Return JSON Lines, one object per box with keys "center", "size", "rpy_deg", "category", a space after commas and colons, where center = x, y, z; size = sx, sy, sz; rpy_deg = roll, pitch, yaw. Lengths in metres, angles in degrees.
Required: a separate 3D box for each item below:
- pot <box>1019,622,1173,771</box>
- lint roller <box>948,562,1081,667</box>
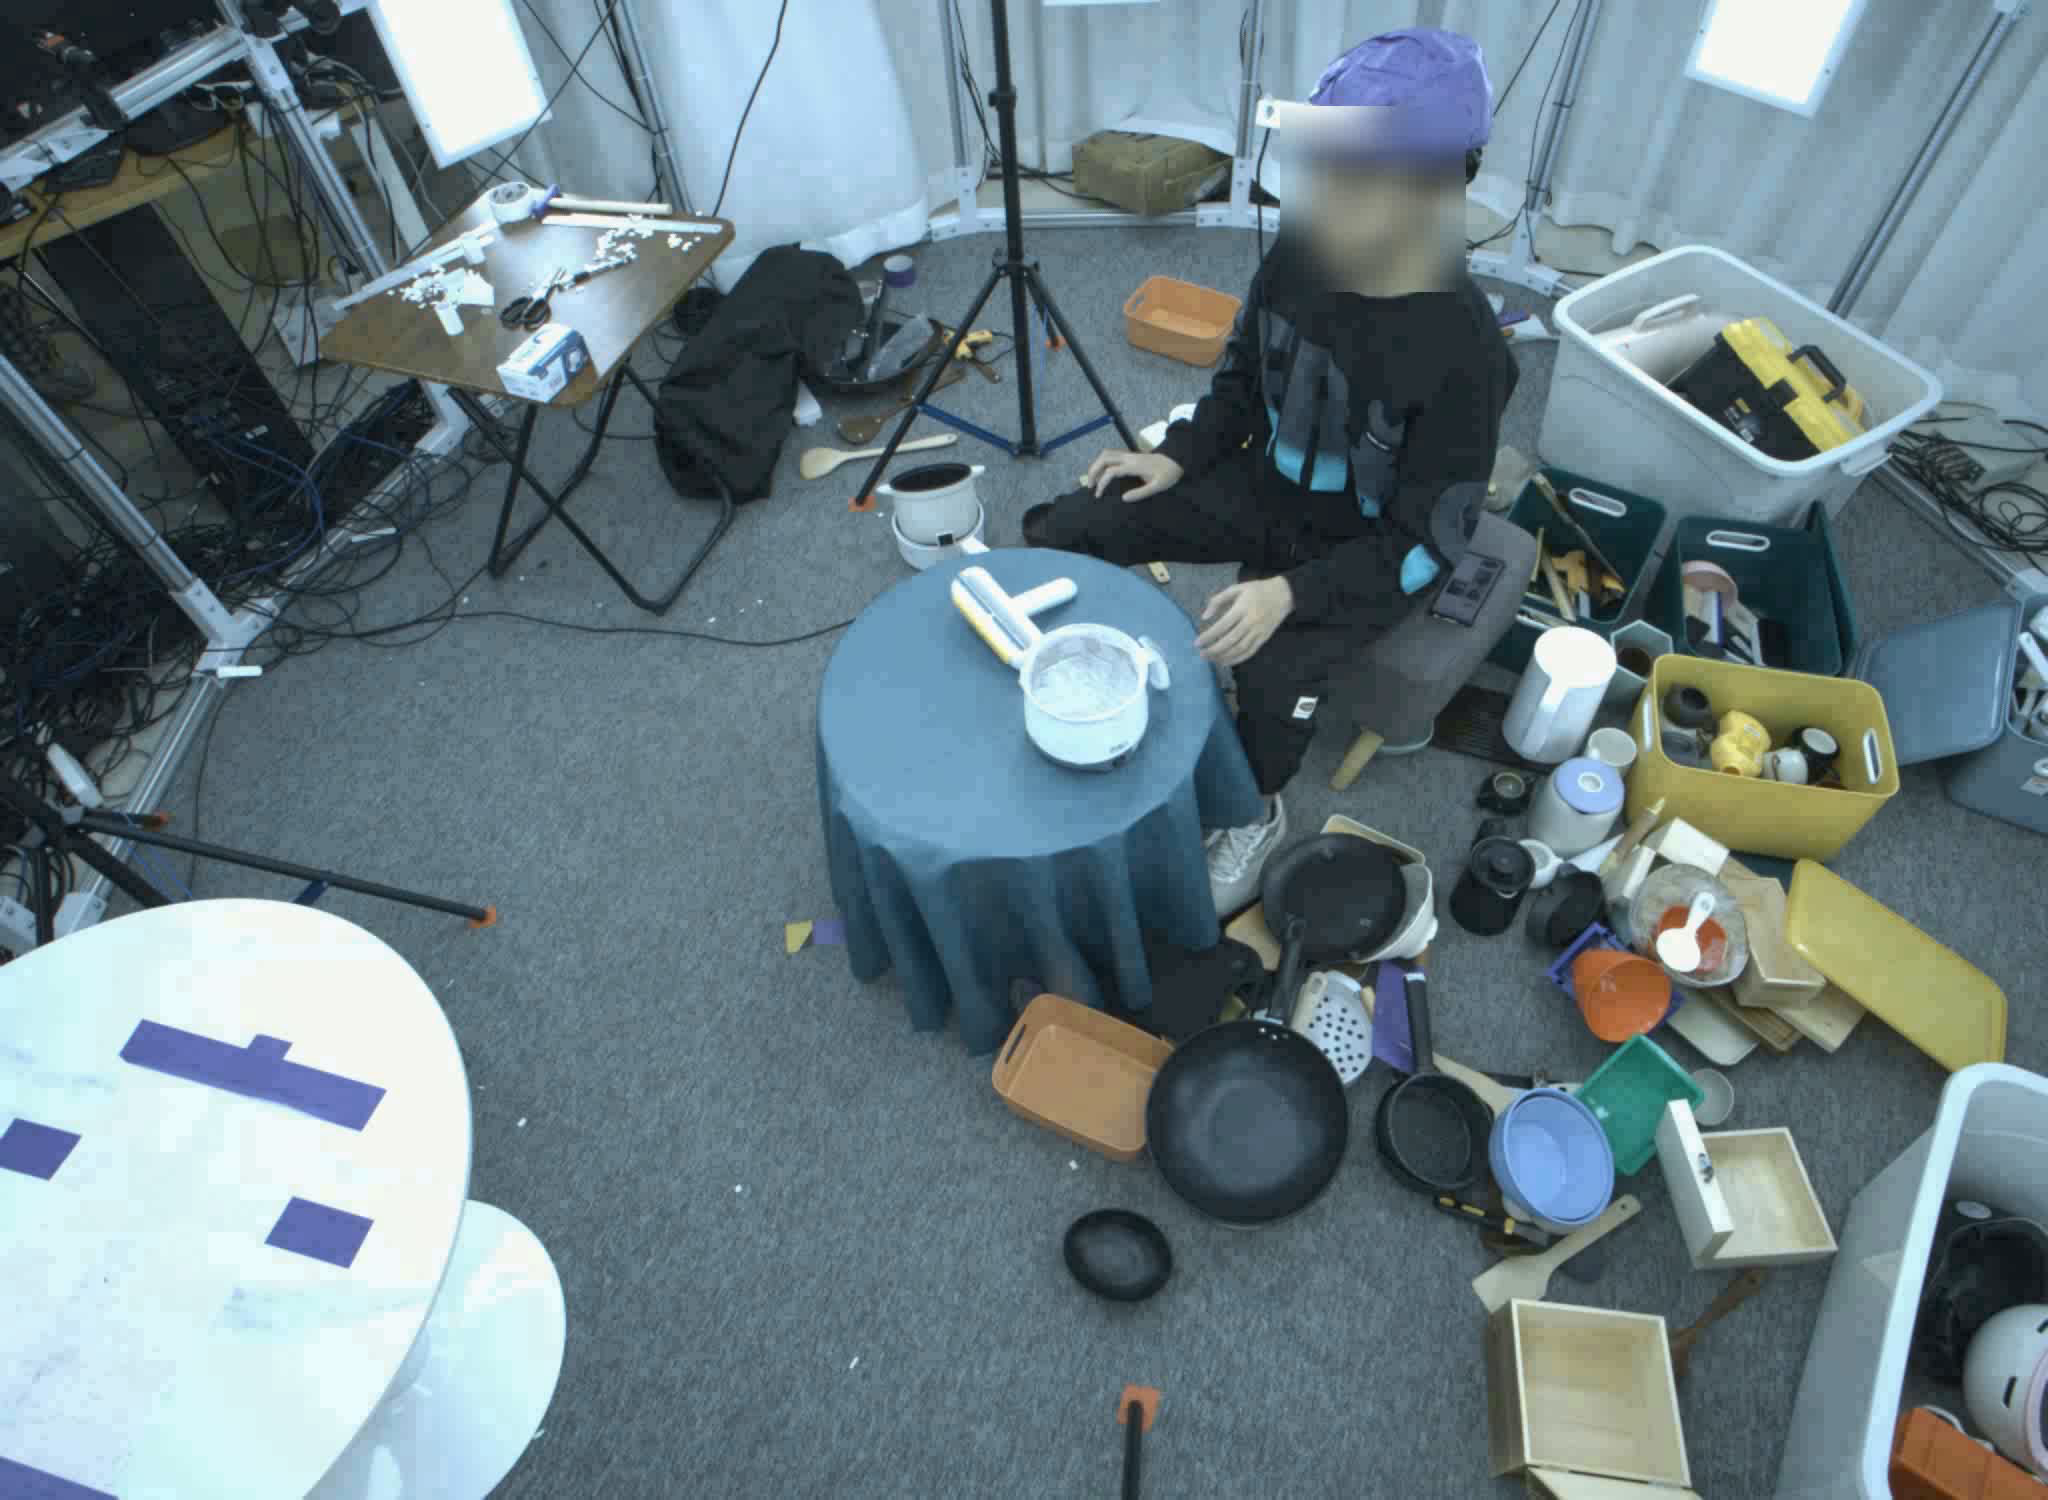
{"center": [0.109, -0.085, 1.753], "size": [0.235, 0.138, 0.175], "rpy_deg": [-29, 60, -15], "category": "pot"}
{"center": [0.004, -0.230, 1.904], "size": [0.194, 0.075, 0.189], "rpy_deg": [-29, 64, -19], "category": "lint roller"}
